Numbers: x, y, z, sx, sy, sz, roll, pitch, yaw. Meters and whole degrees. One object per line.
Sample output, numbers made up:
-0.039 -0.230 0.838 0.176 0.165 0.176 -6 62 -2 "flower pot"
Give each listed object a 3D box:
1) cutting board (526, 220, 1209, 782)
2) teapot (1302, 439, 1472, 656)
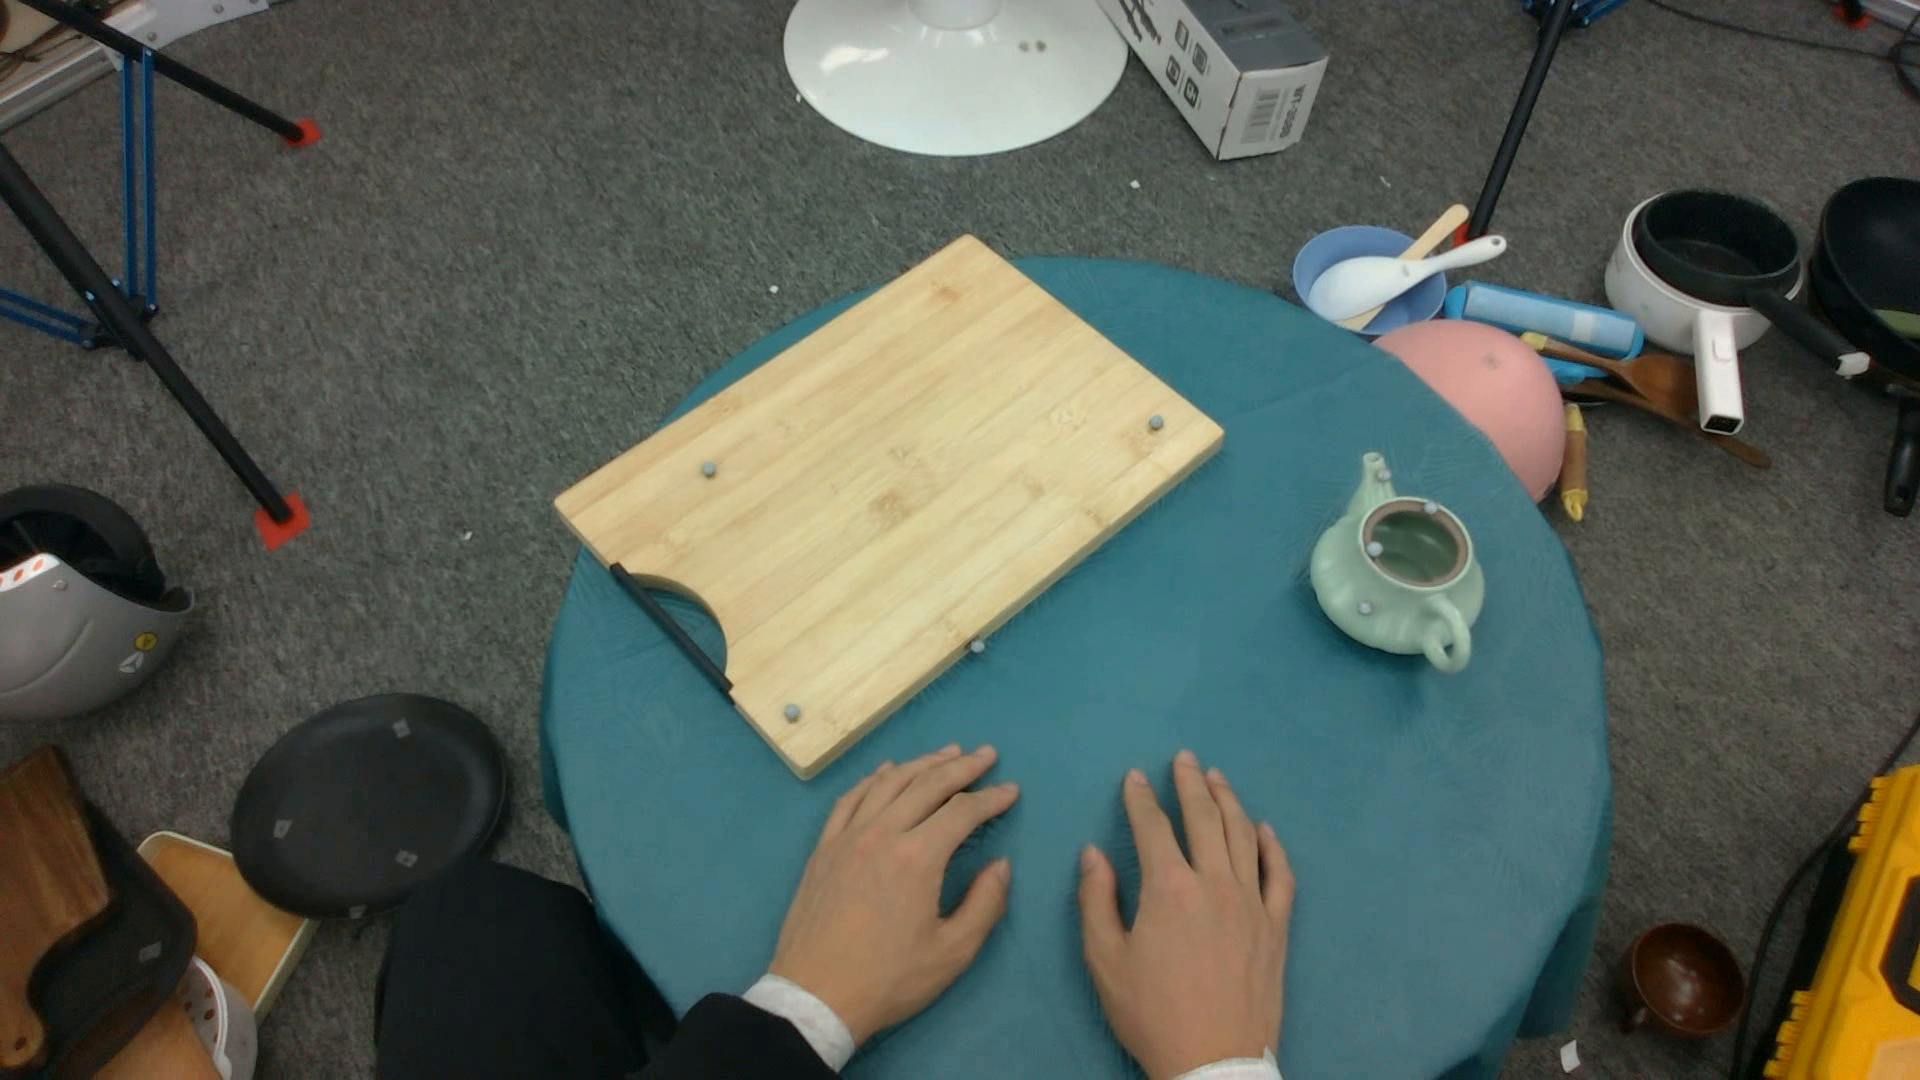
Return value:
-0.050 -0.045 0.845 0.350 0.023 0.251 -39 65 -23 "cutting board"
0.248 0.011 0.784 0.096 0.061 0.137 -13 57 -10 "teapot"
